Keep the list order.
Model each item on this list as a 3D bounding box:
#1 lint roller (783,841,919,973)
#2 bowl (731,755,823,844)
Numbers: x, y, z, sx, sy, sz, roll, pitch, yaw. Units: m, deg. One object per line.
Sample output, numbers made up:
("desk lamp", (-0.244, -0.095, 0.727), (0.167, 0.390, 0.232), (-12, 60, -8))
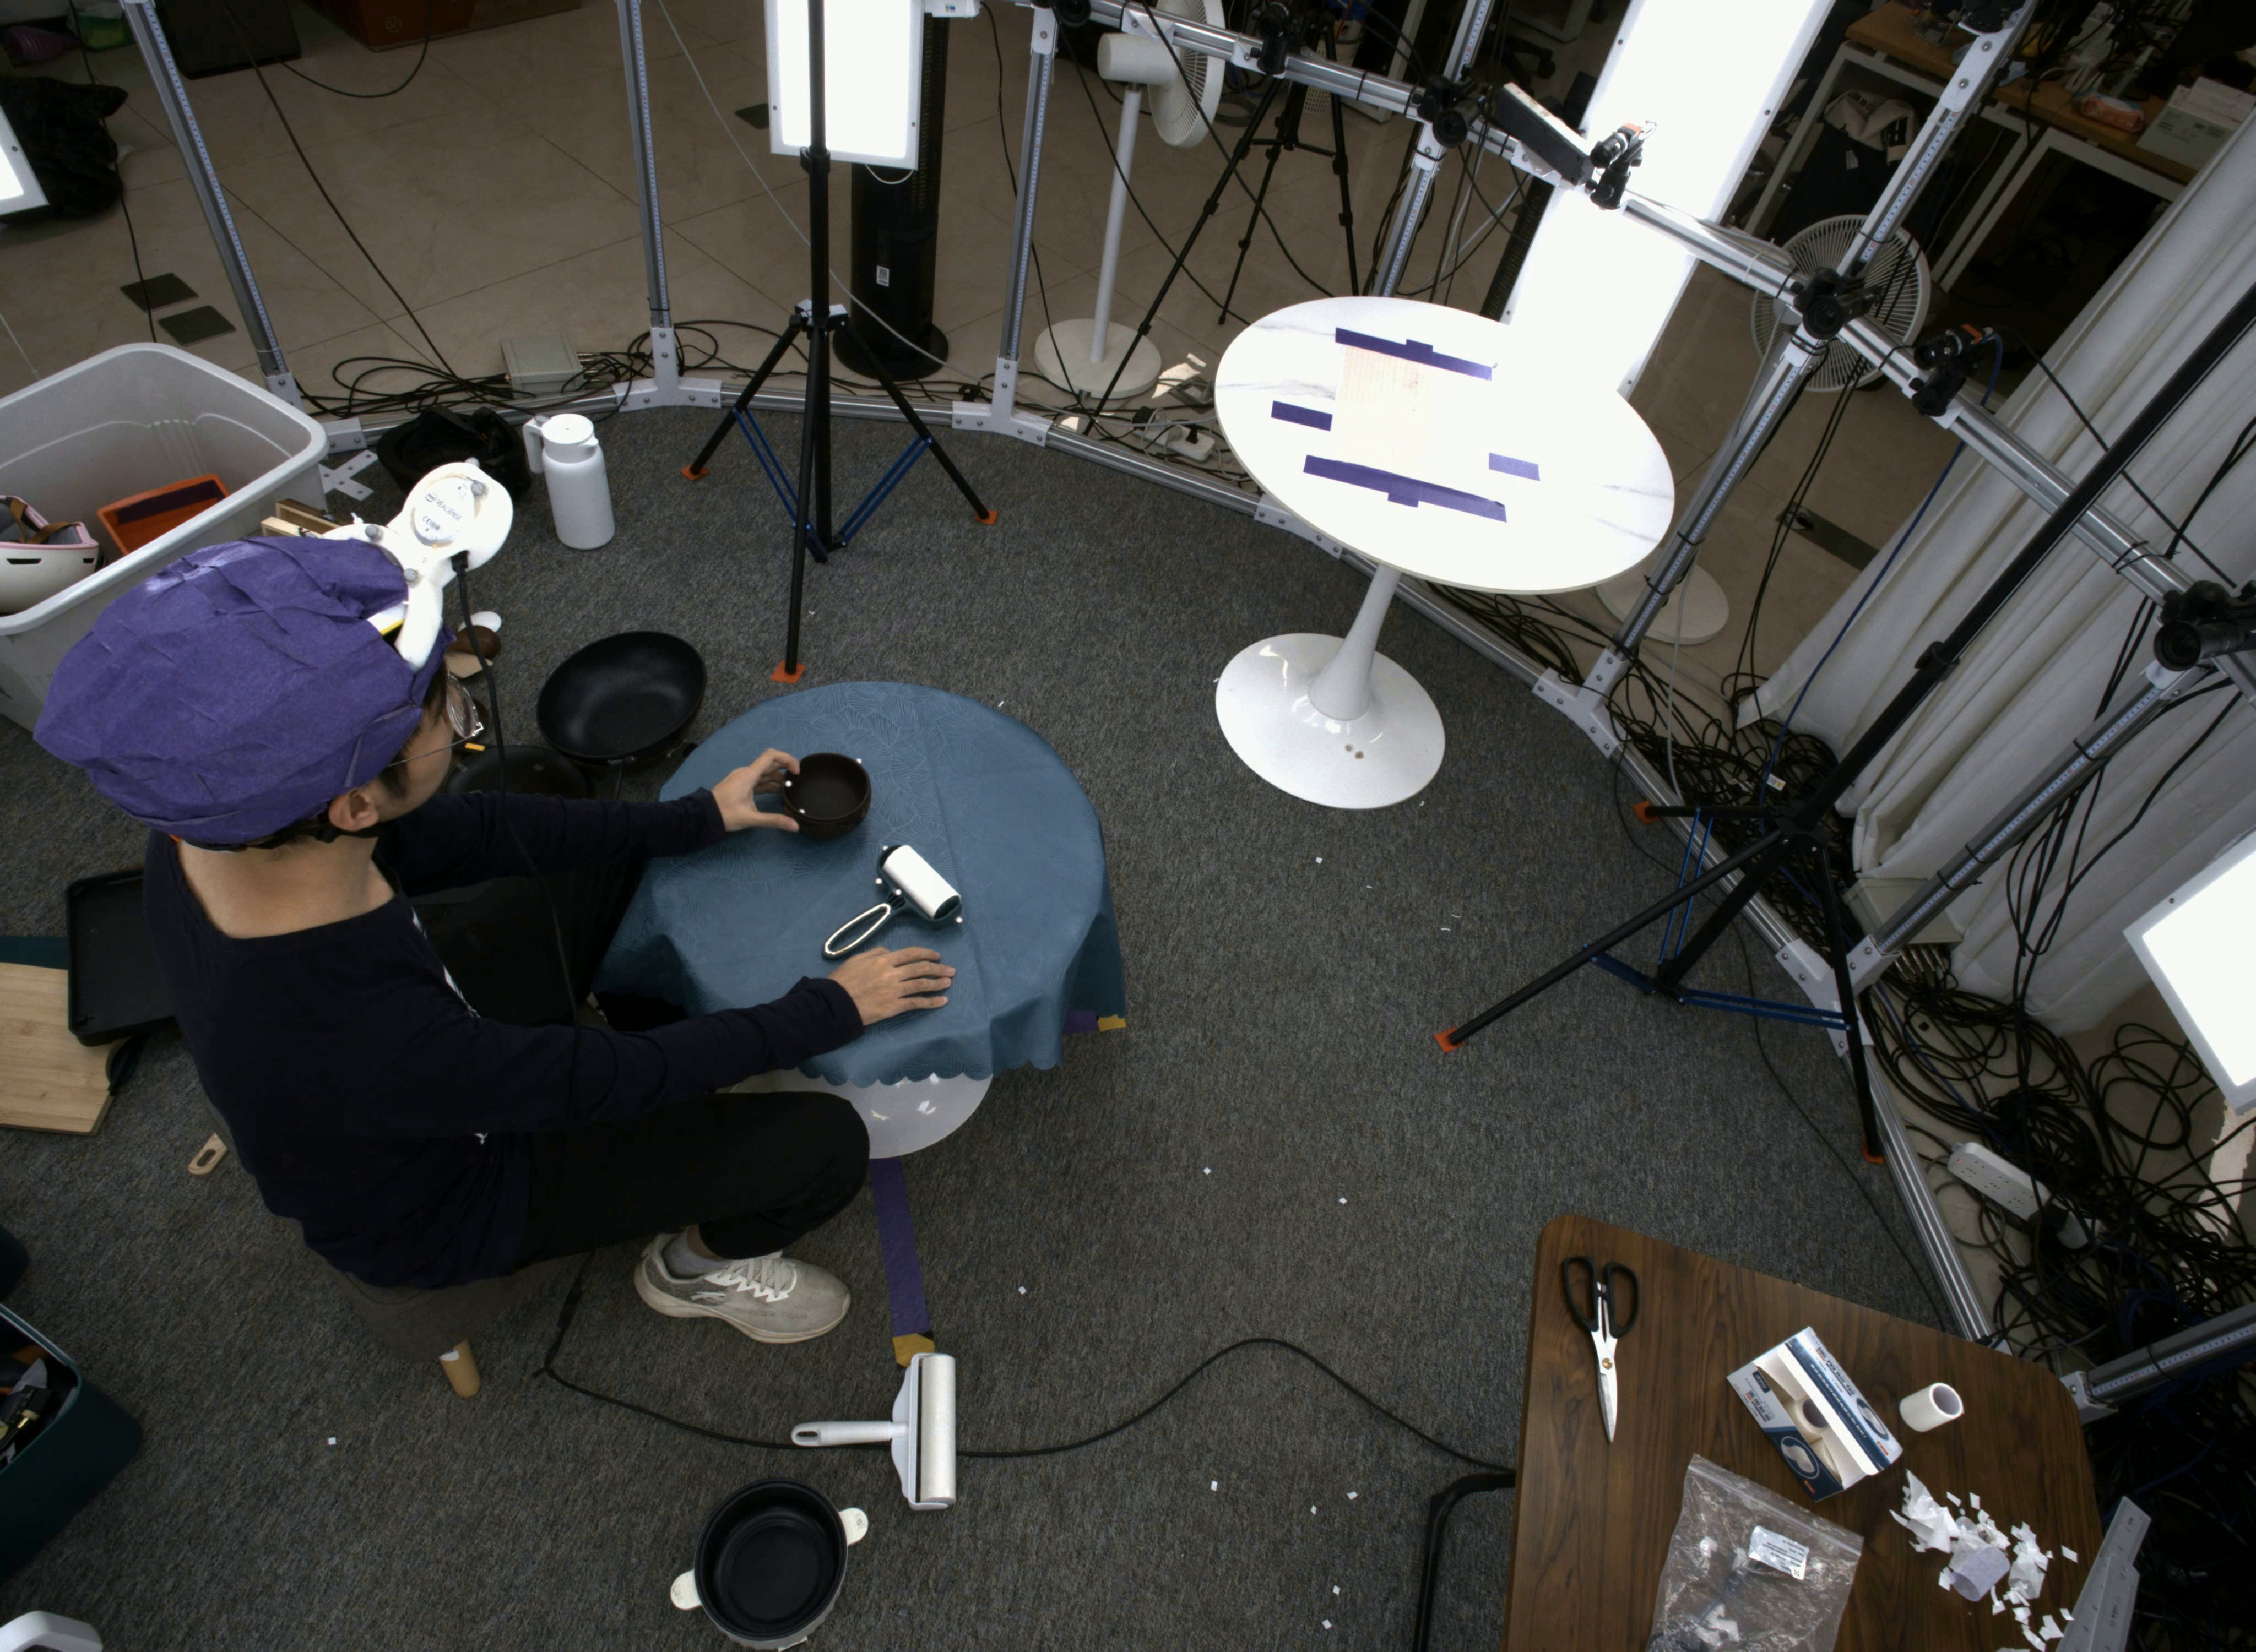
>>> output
("lint roller", (-0.366, 0.113, 1.640), (0.131, 0.049, 0.180), (39, 58, 16))
("bowl", (-0.459, -0.028, 1.700), (0.118, 0.071, 0.116), (7, 55, -9))
